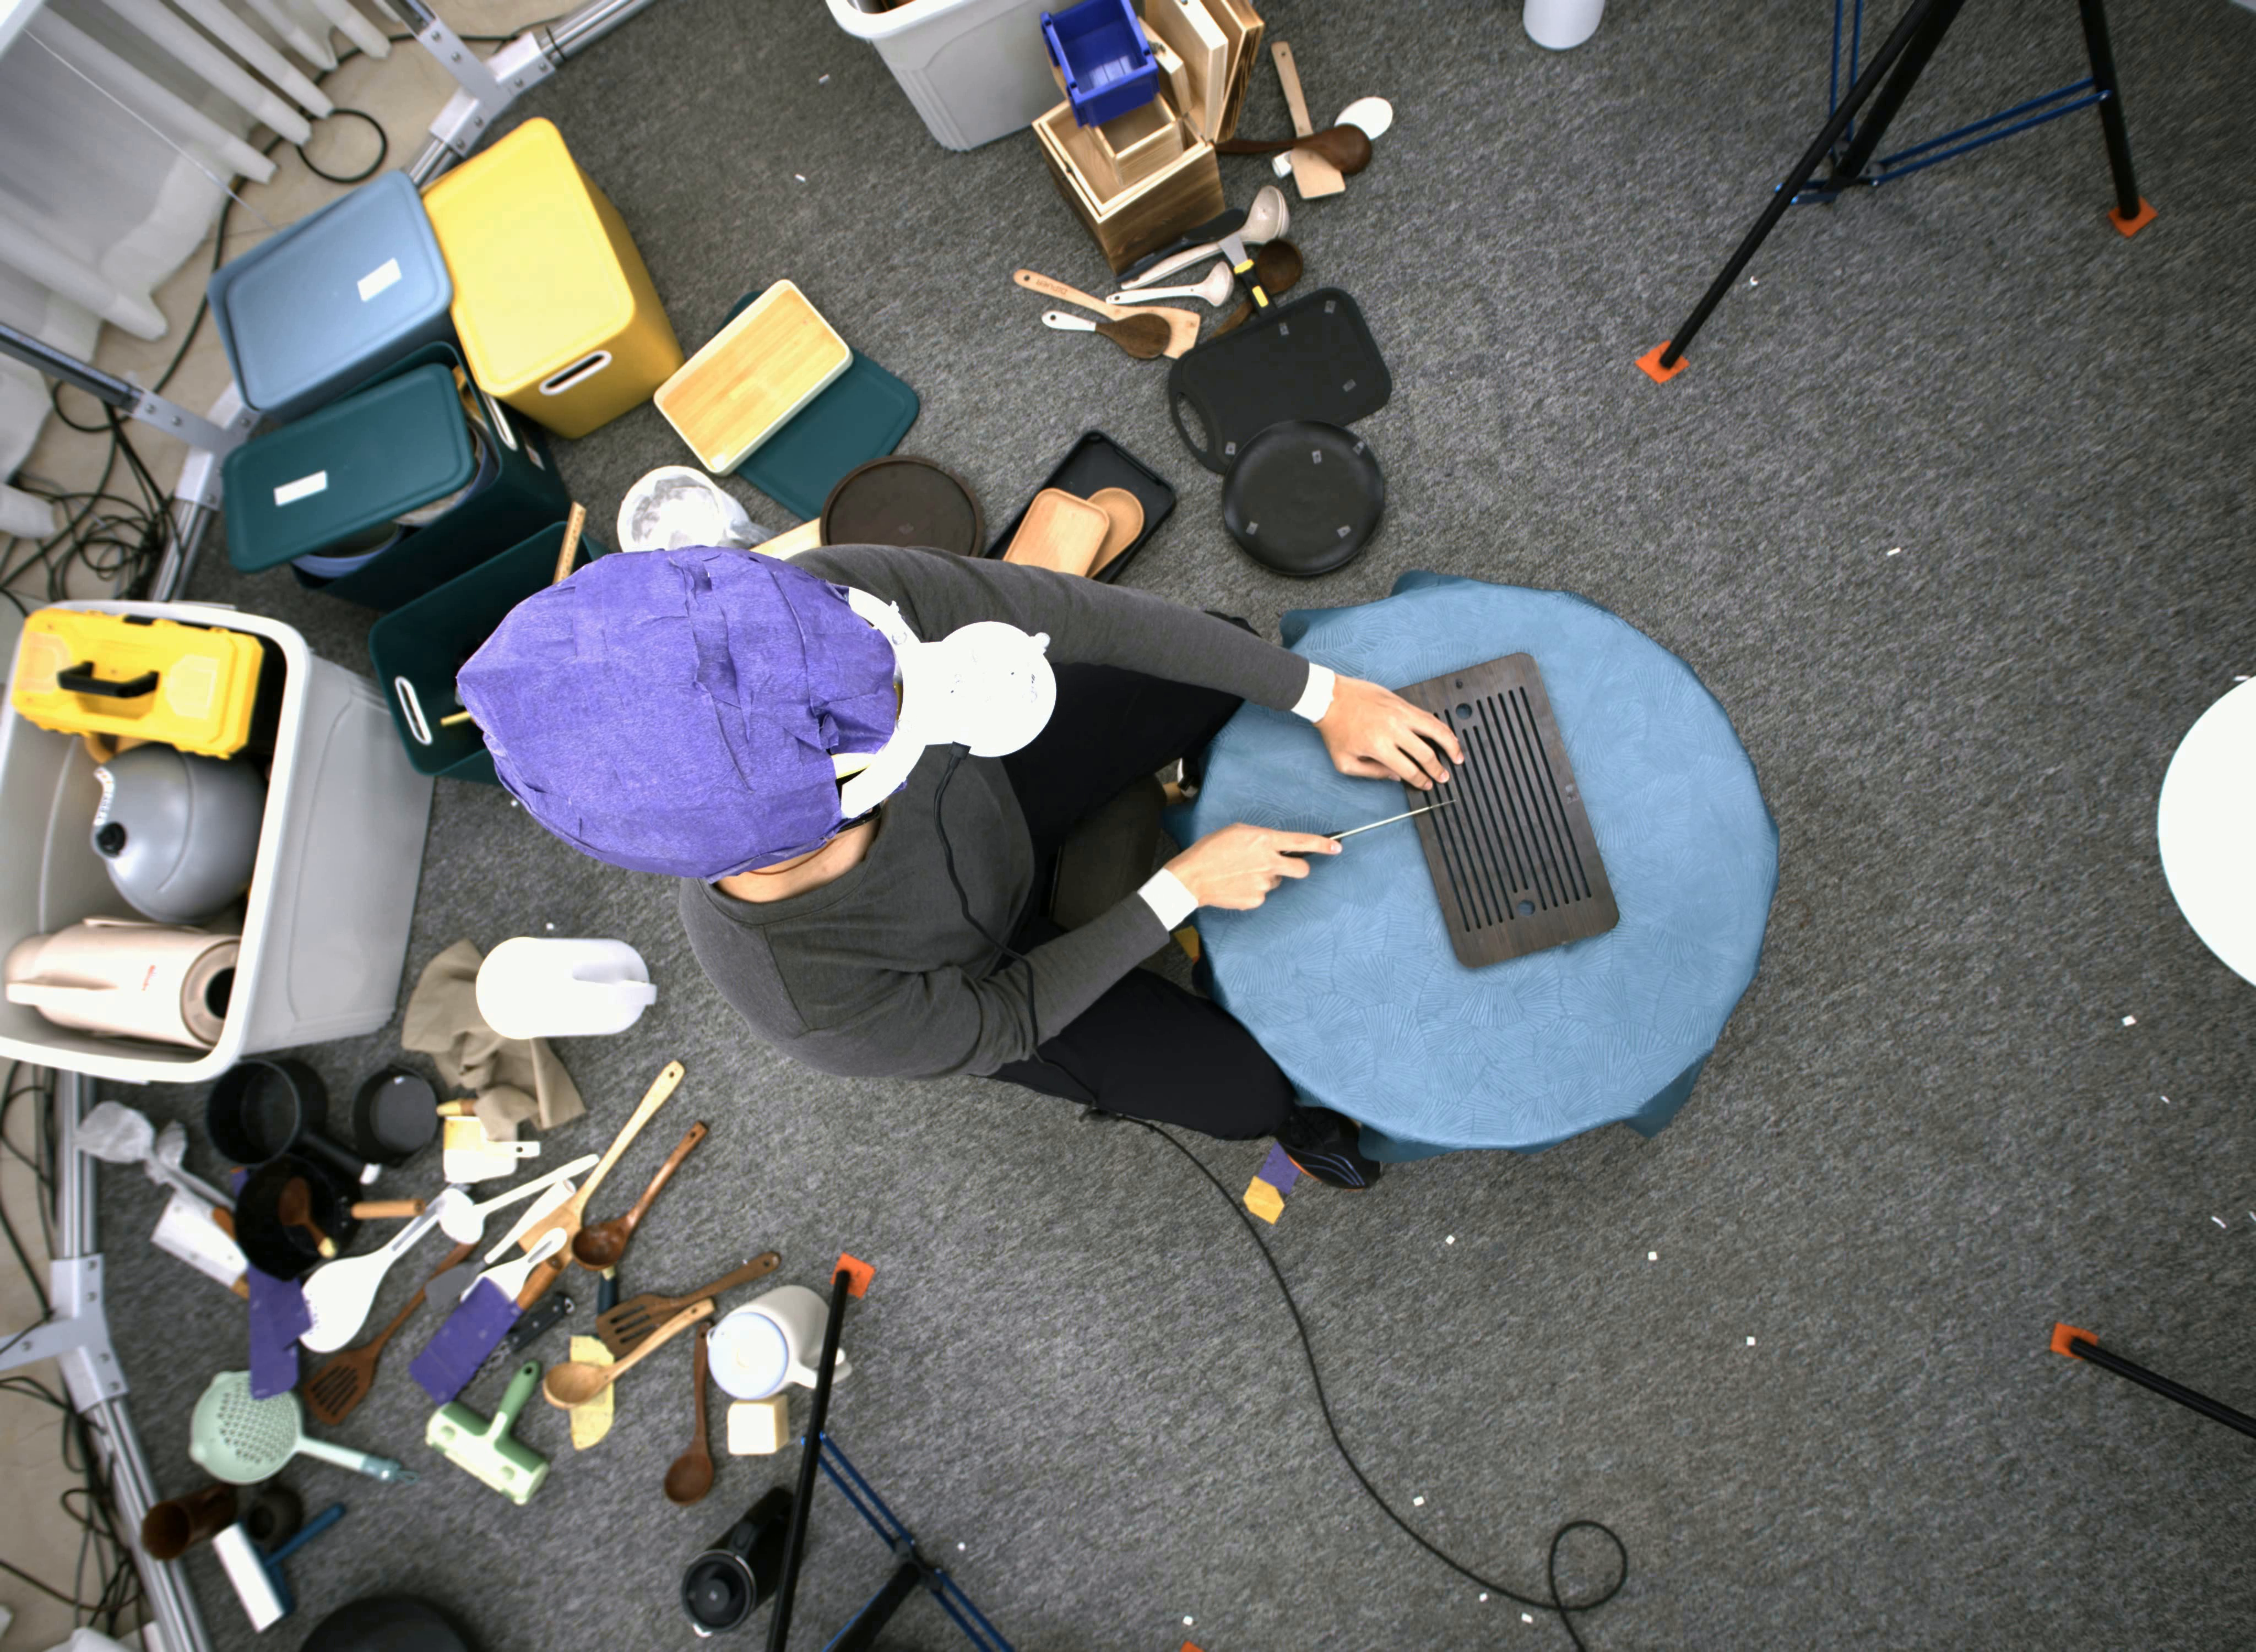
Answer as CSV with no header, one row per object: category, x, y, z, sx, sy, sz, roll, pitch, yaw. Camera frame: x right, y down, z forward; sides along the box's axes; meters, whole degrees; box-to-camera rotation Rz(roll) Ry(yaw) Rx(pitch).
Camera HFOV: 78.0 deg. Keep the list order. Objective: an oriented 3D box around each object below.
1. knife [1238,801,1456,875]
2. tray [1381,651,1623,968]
knife,0.229,0.008,1.439,0.239,0.024,0.016,-18,75,4
tray,0.388,-0.020,1.434,0.171,0.018,0.304,-17,84,10
